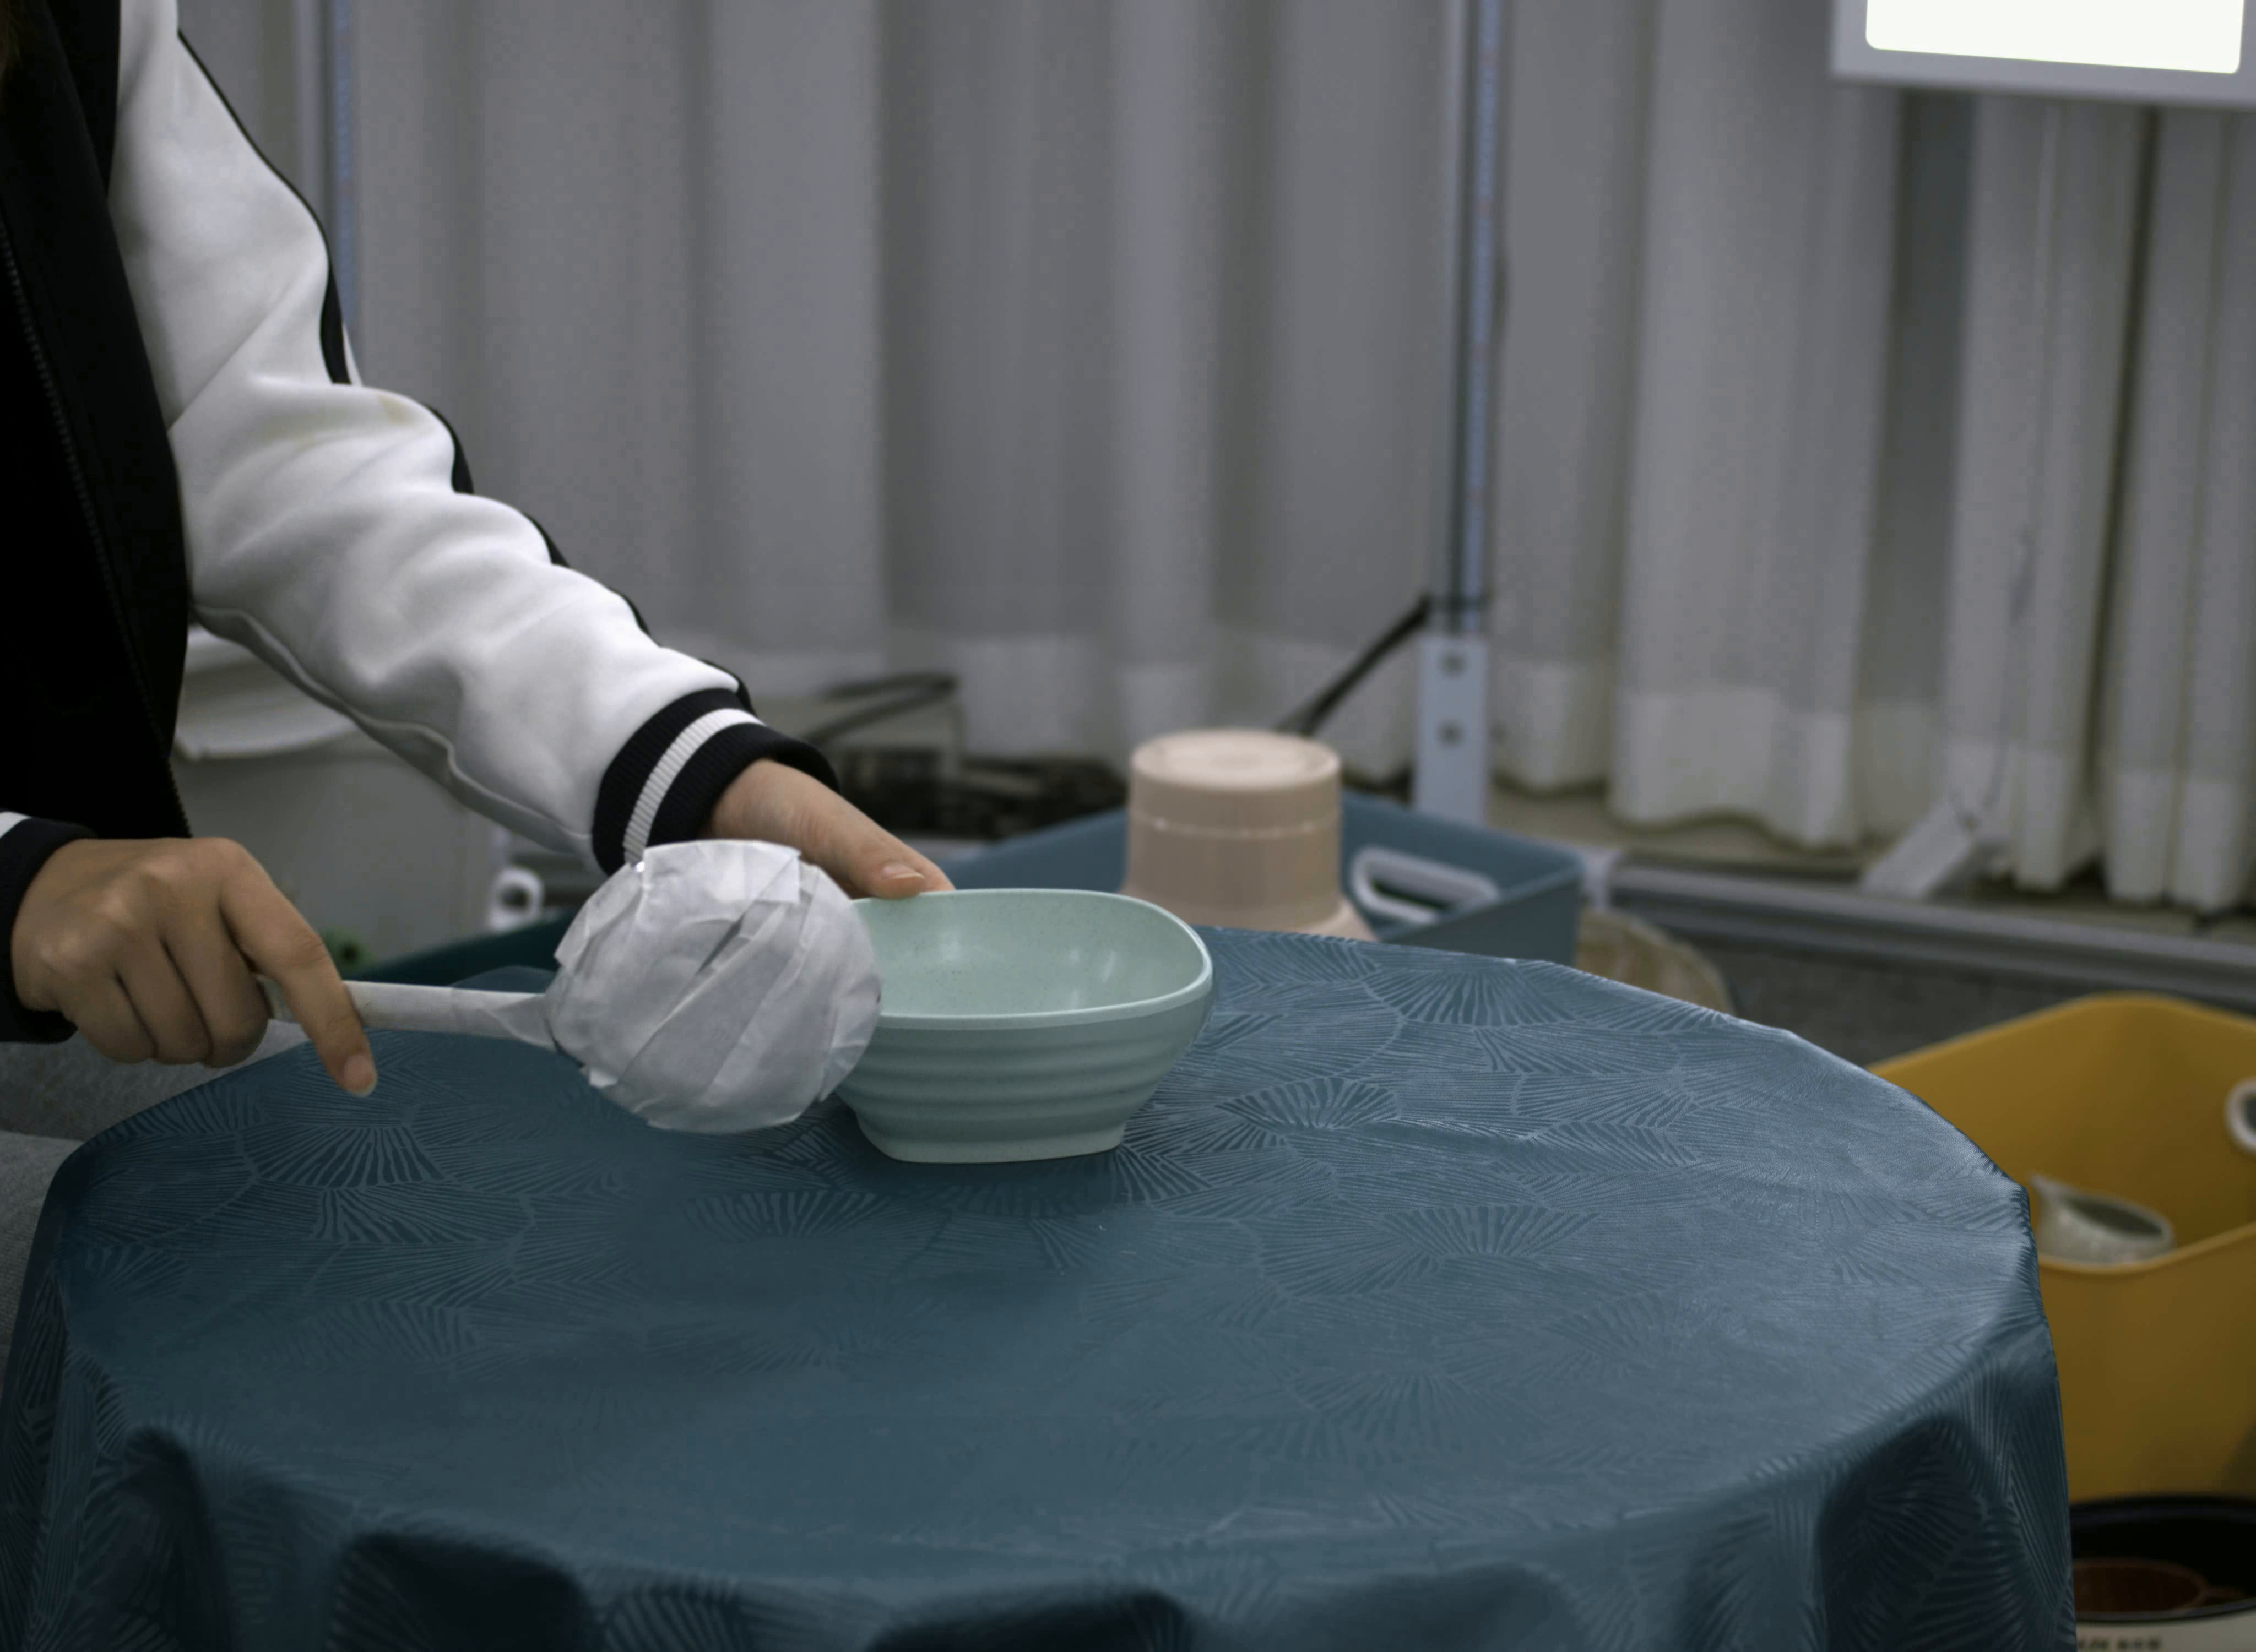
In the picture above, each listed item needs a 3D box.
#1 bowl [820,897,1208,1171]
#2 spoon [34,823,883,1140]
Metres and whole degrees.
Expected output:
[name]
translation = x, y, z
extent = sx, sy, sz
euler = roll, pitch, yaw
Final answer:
[bowl]
translation = -0.045, 0.069, 1.677
extent = 0.151, 0.059, 0.150
euler = 1, 15, 0
[spoon]
translation = -0.200, 0.047, 1.548
extent = 0.274, 0.101, 0.059
euler = 0, 22, 31
